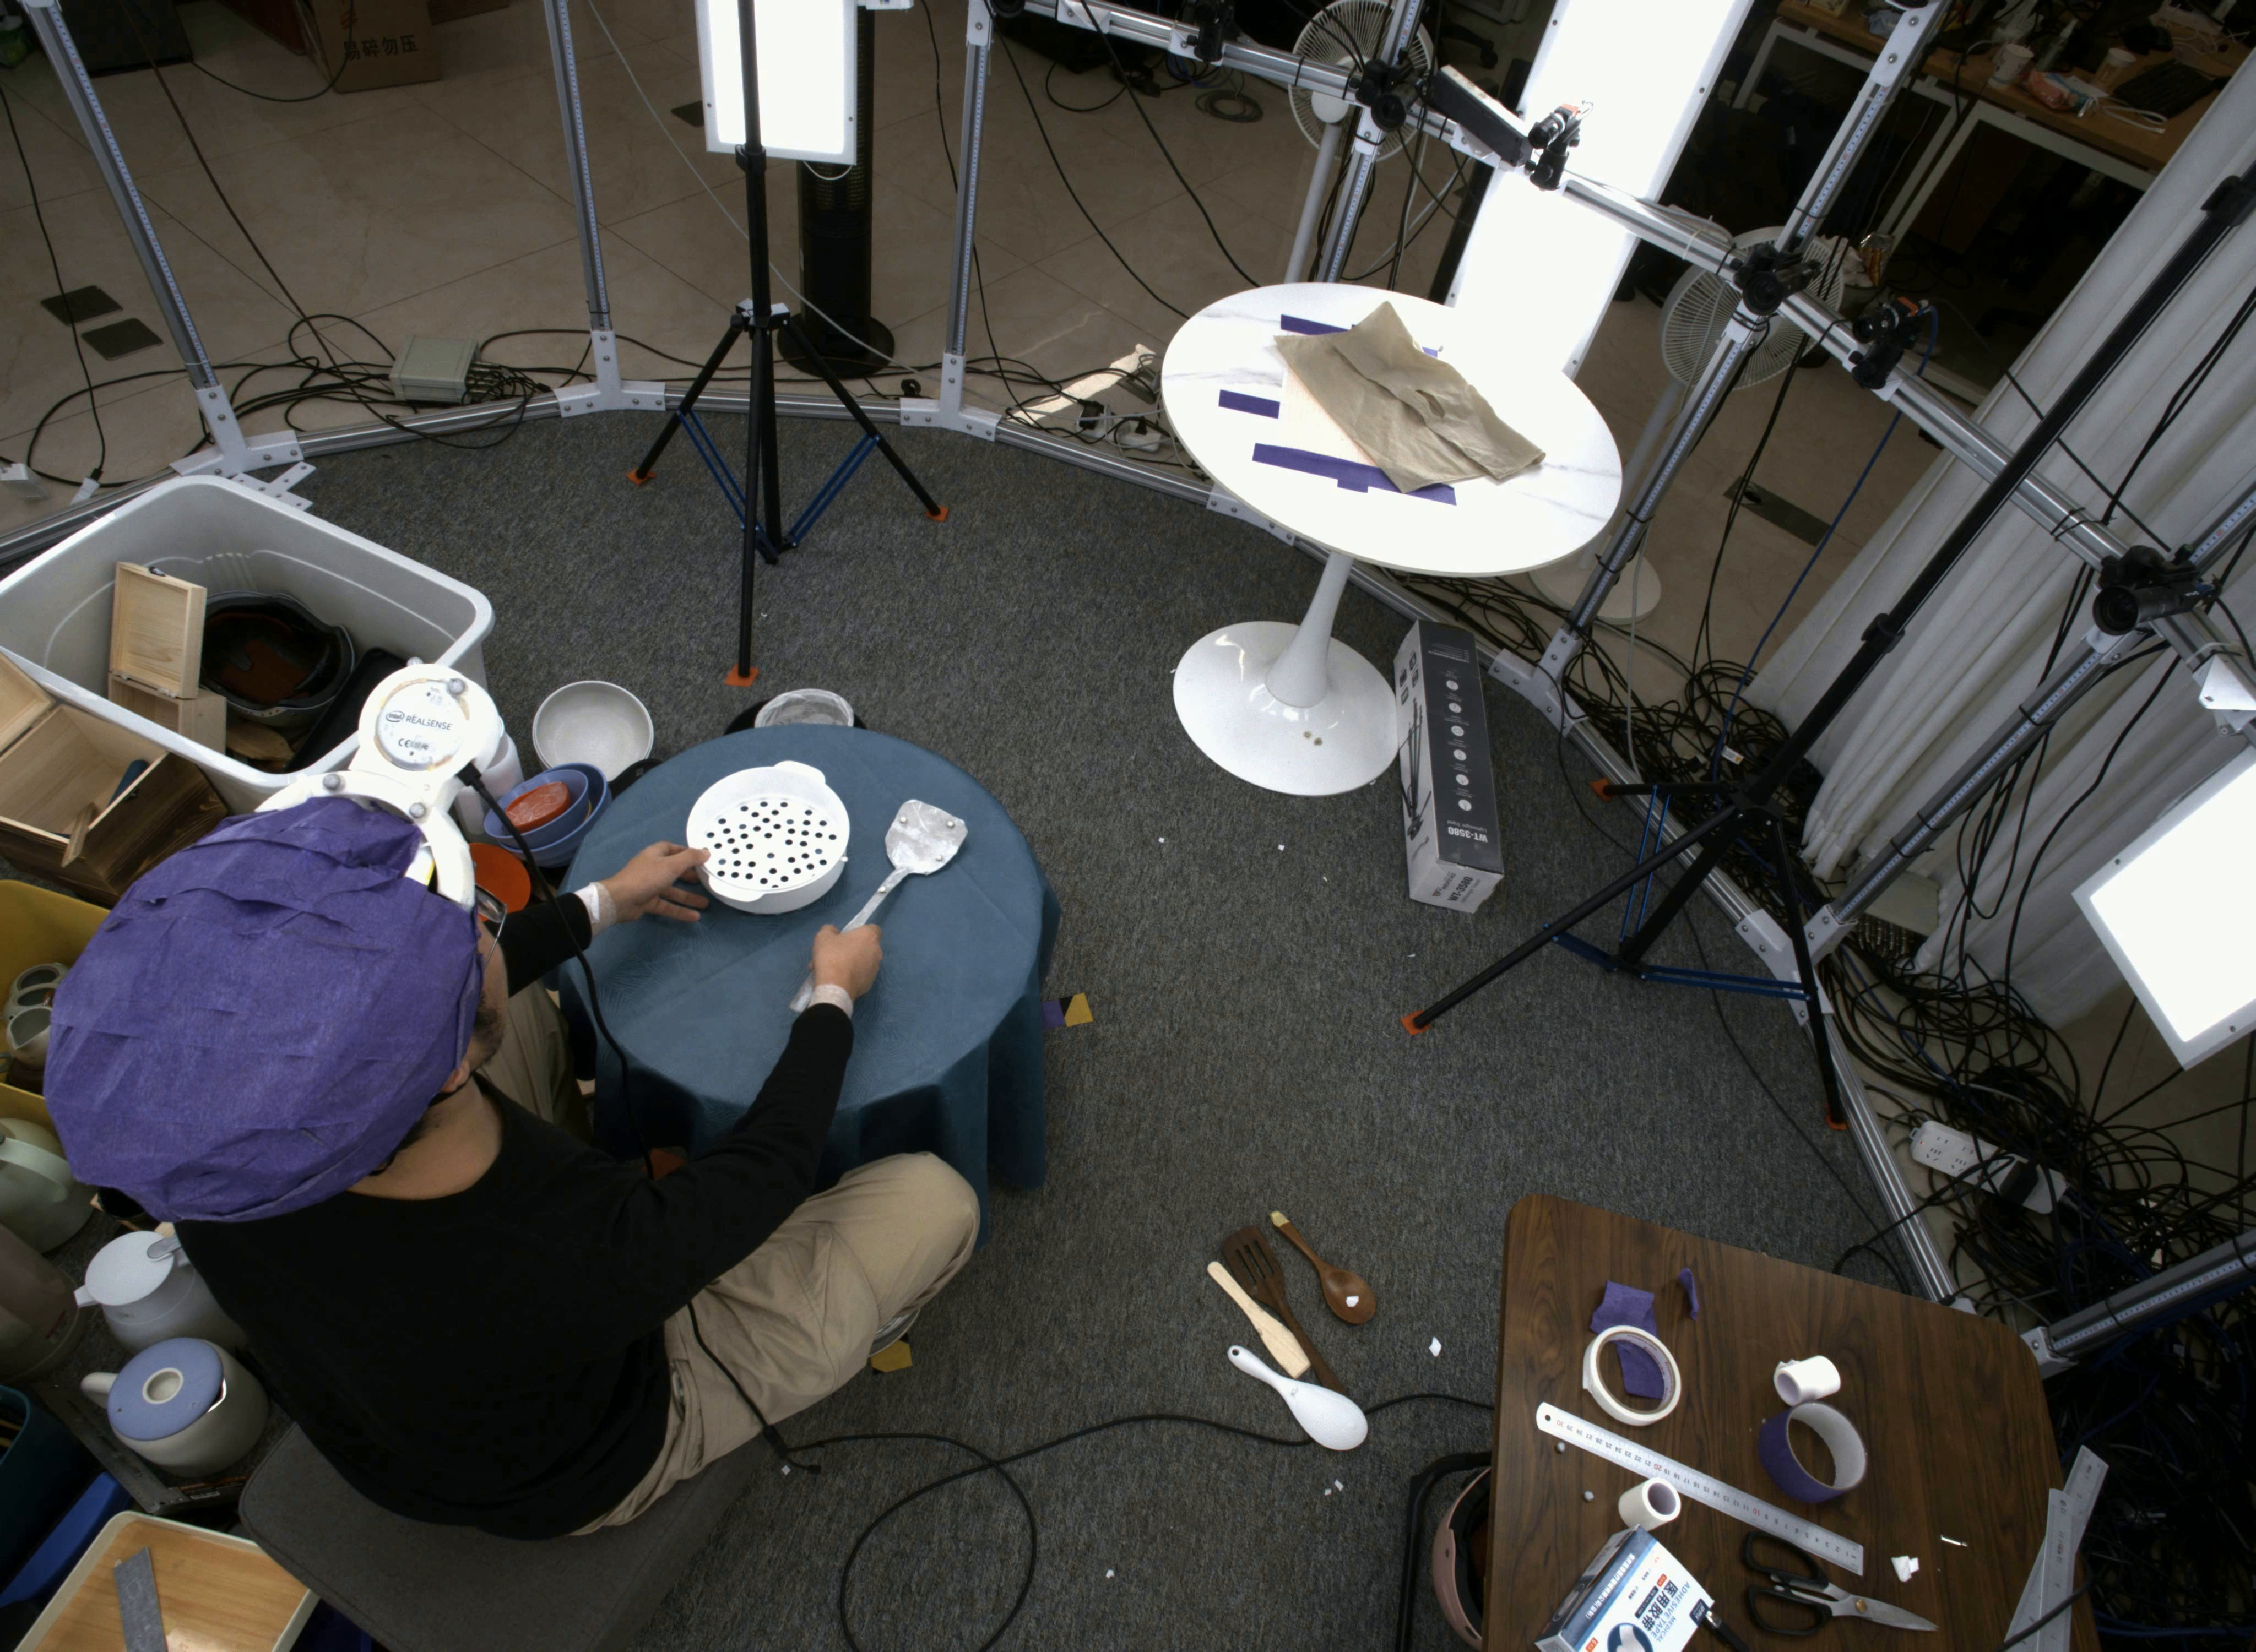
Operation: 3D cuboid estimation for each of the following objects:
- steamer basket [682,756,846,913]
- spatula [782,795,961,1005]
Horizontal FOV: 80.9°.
[{"bbox_3d":[-0.462,0.015,1.652,0.200,0.070,0.228,18,52,0],"label":"steamer basket"},{"bbox_3d":[-0.327,0.091,1.632,0.098,0.045,0.362,27,43,3],"label":"spatula"}]
